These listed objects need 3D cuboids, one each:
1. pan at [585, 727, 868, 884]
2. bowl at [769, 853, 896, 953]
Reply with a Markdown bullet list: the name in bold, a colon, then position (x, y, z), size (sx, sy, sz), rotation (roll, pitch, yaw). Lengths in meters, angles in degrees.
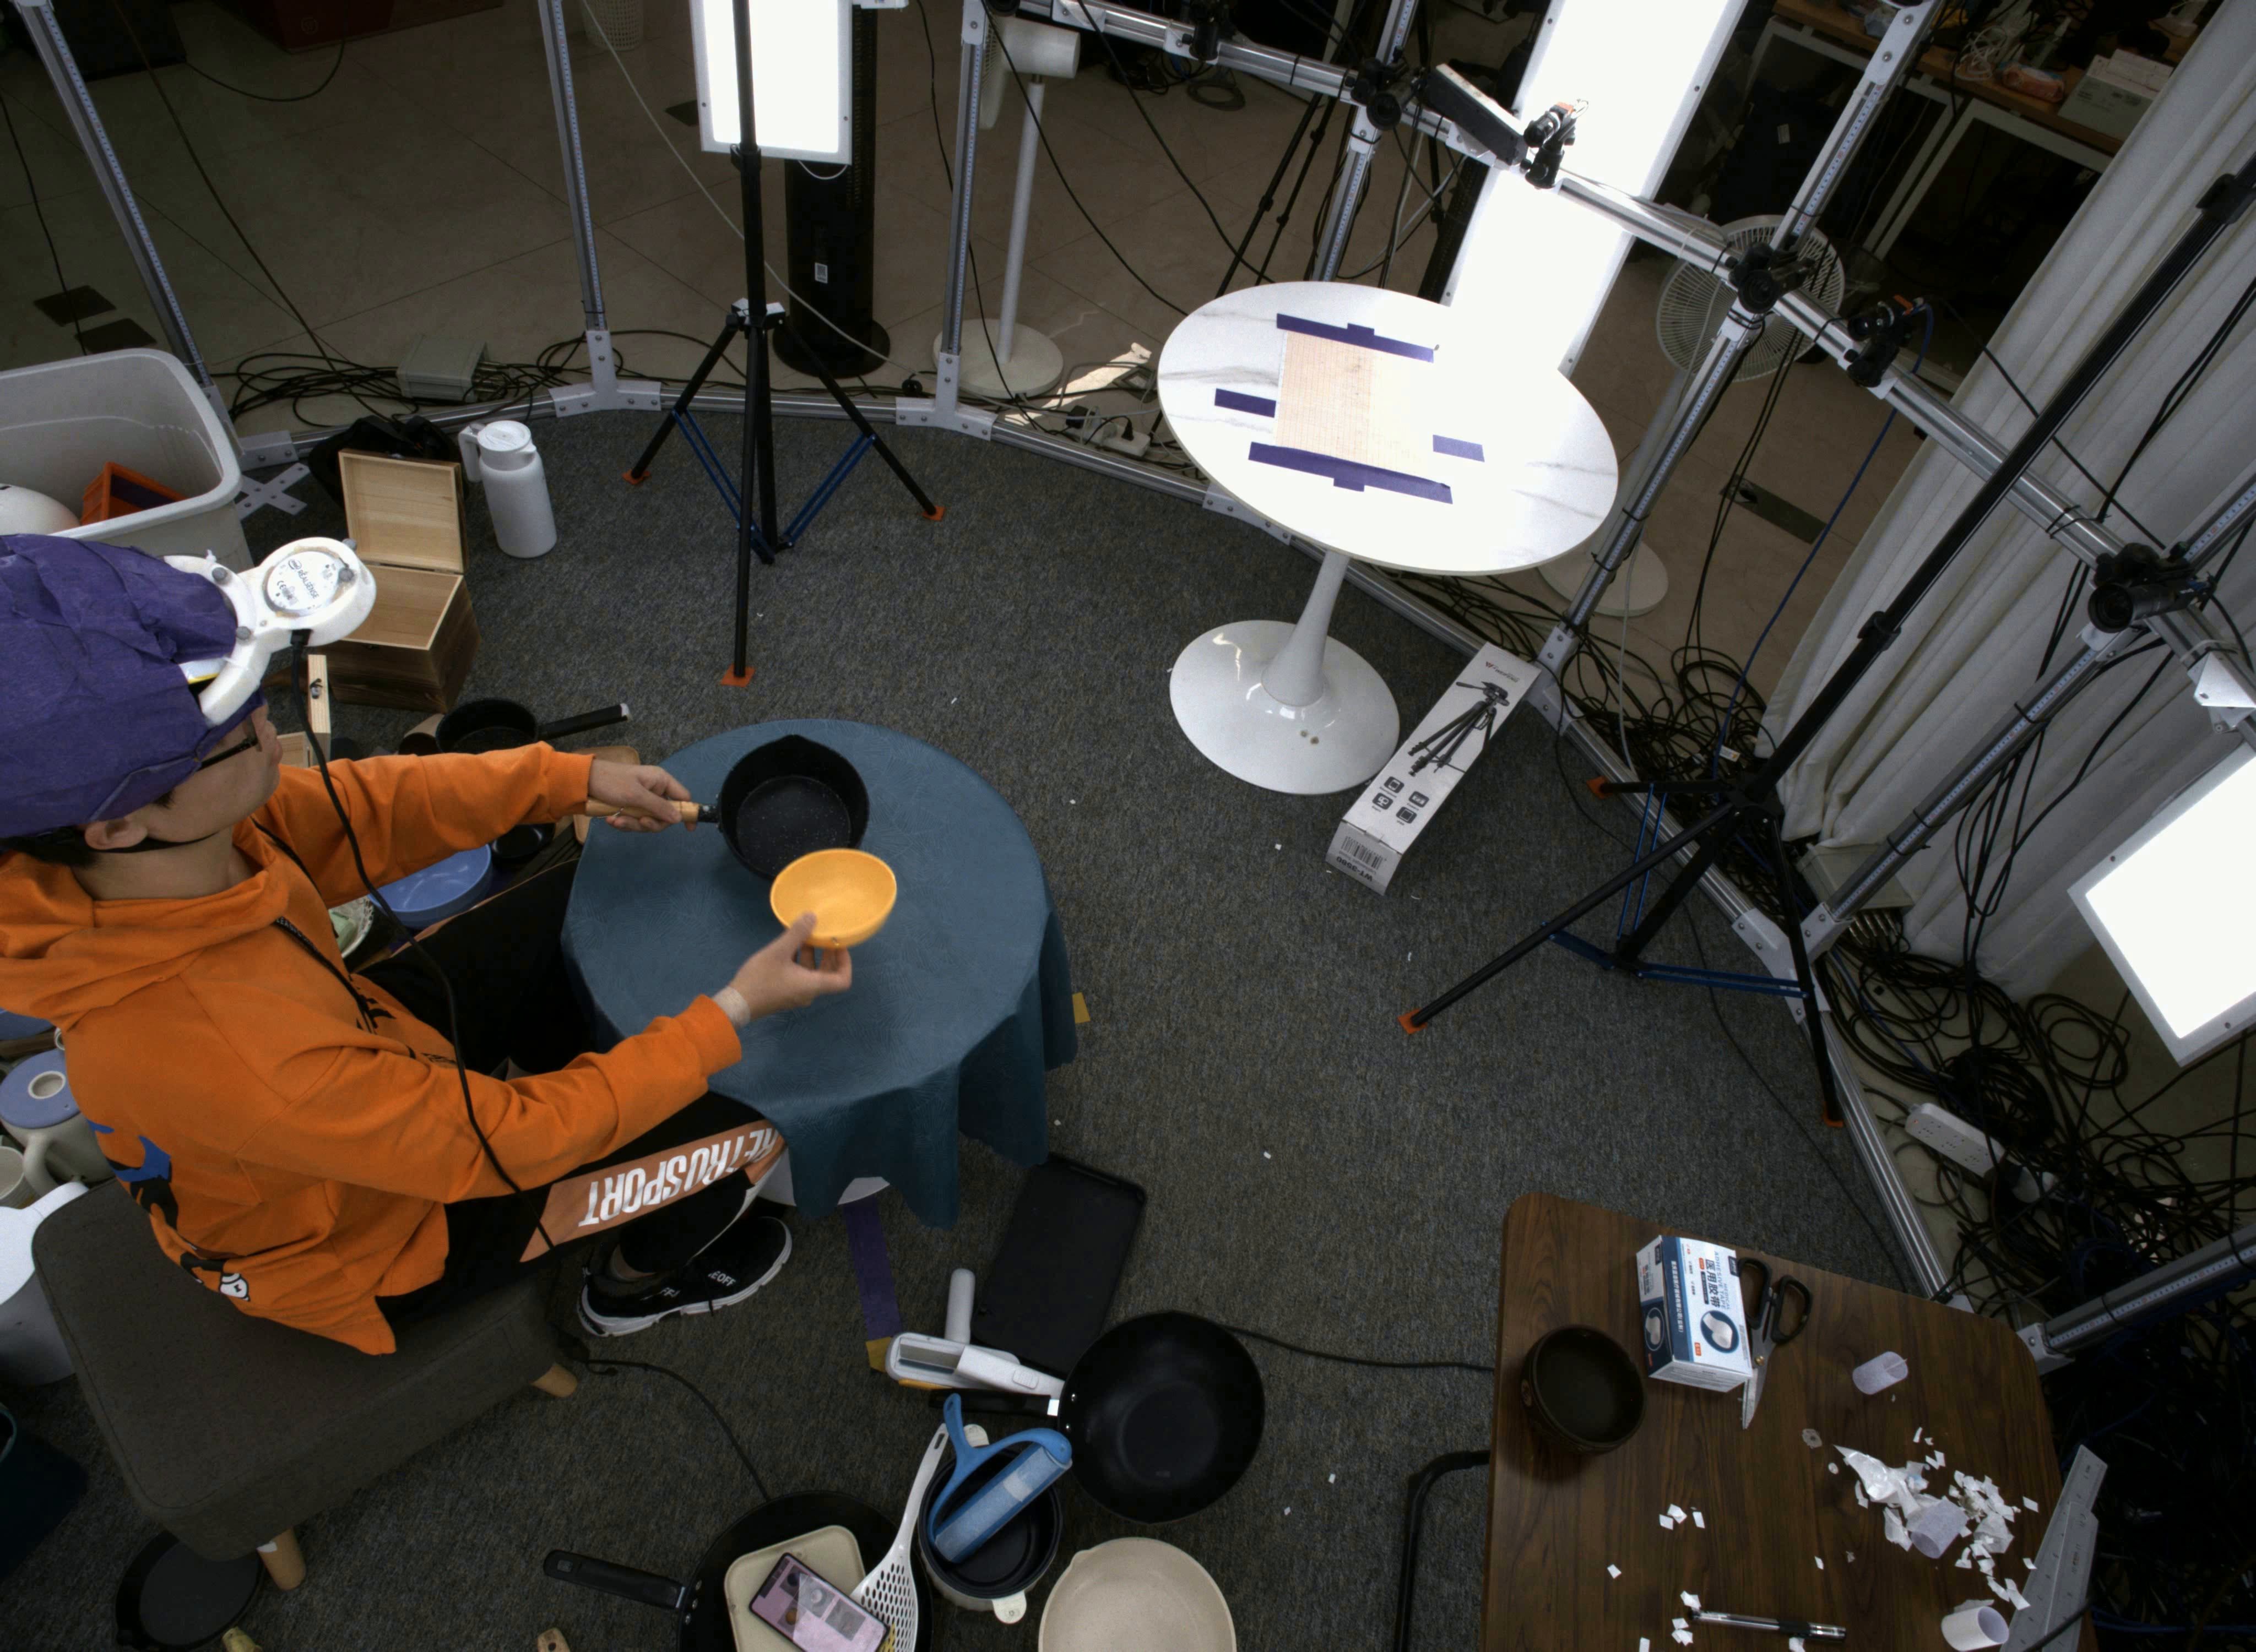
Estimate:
- **pan**: position (-0.498, -0.014, 1.603), size (0.345, 0.108, 0.206), rotation (-2, 74, -20)
- **bowl**: position (-0.338, 0.098, 1.500), size (0.144, 0.062, 0.142), rotation (5, 42, -3)
